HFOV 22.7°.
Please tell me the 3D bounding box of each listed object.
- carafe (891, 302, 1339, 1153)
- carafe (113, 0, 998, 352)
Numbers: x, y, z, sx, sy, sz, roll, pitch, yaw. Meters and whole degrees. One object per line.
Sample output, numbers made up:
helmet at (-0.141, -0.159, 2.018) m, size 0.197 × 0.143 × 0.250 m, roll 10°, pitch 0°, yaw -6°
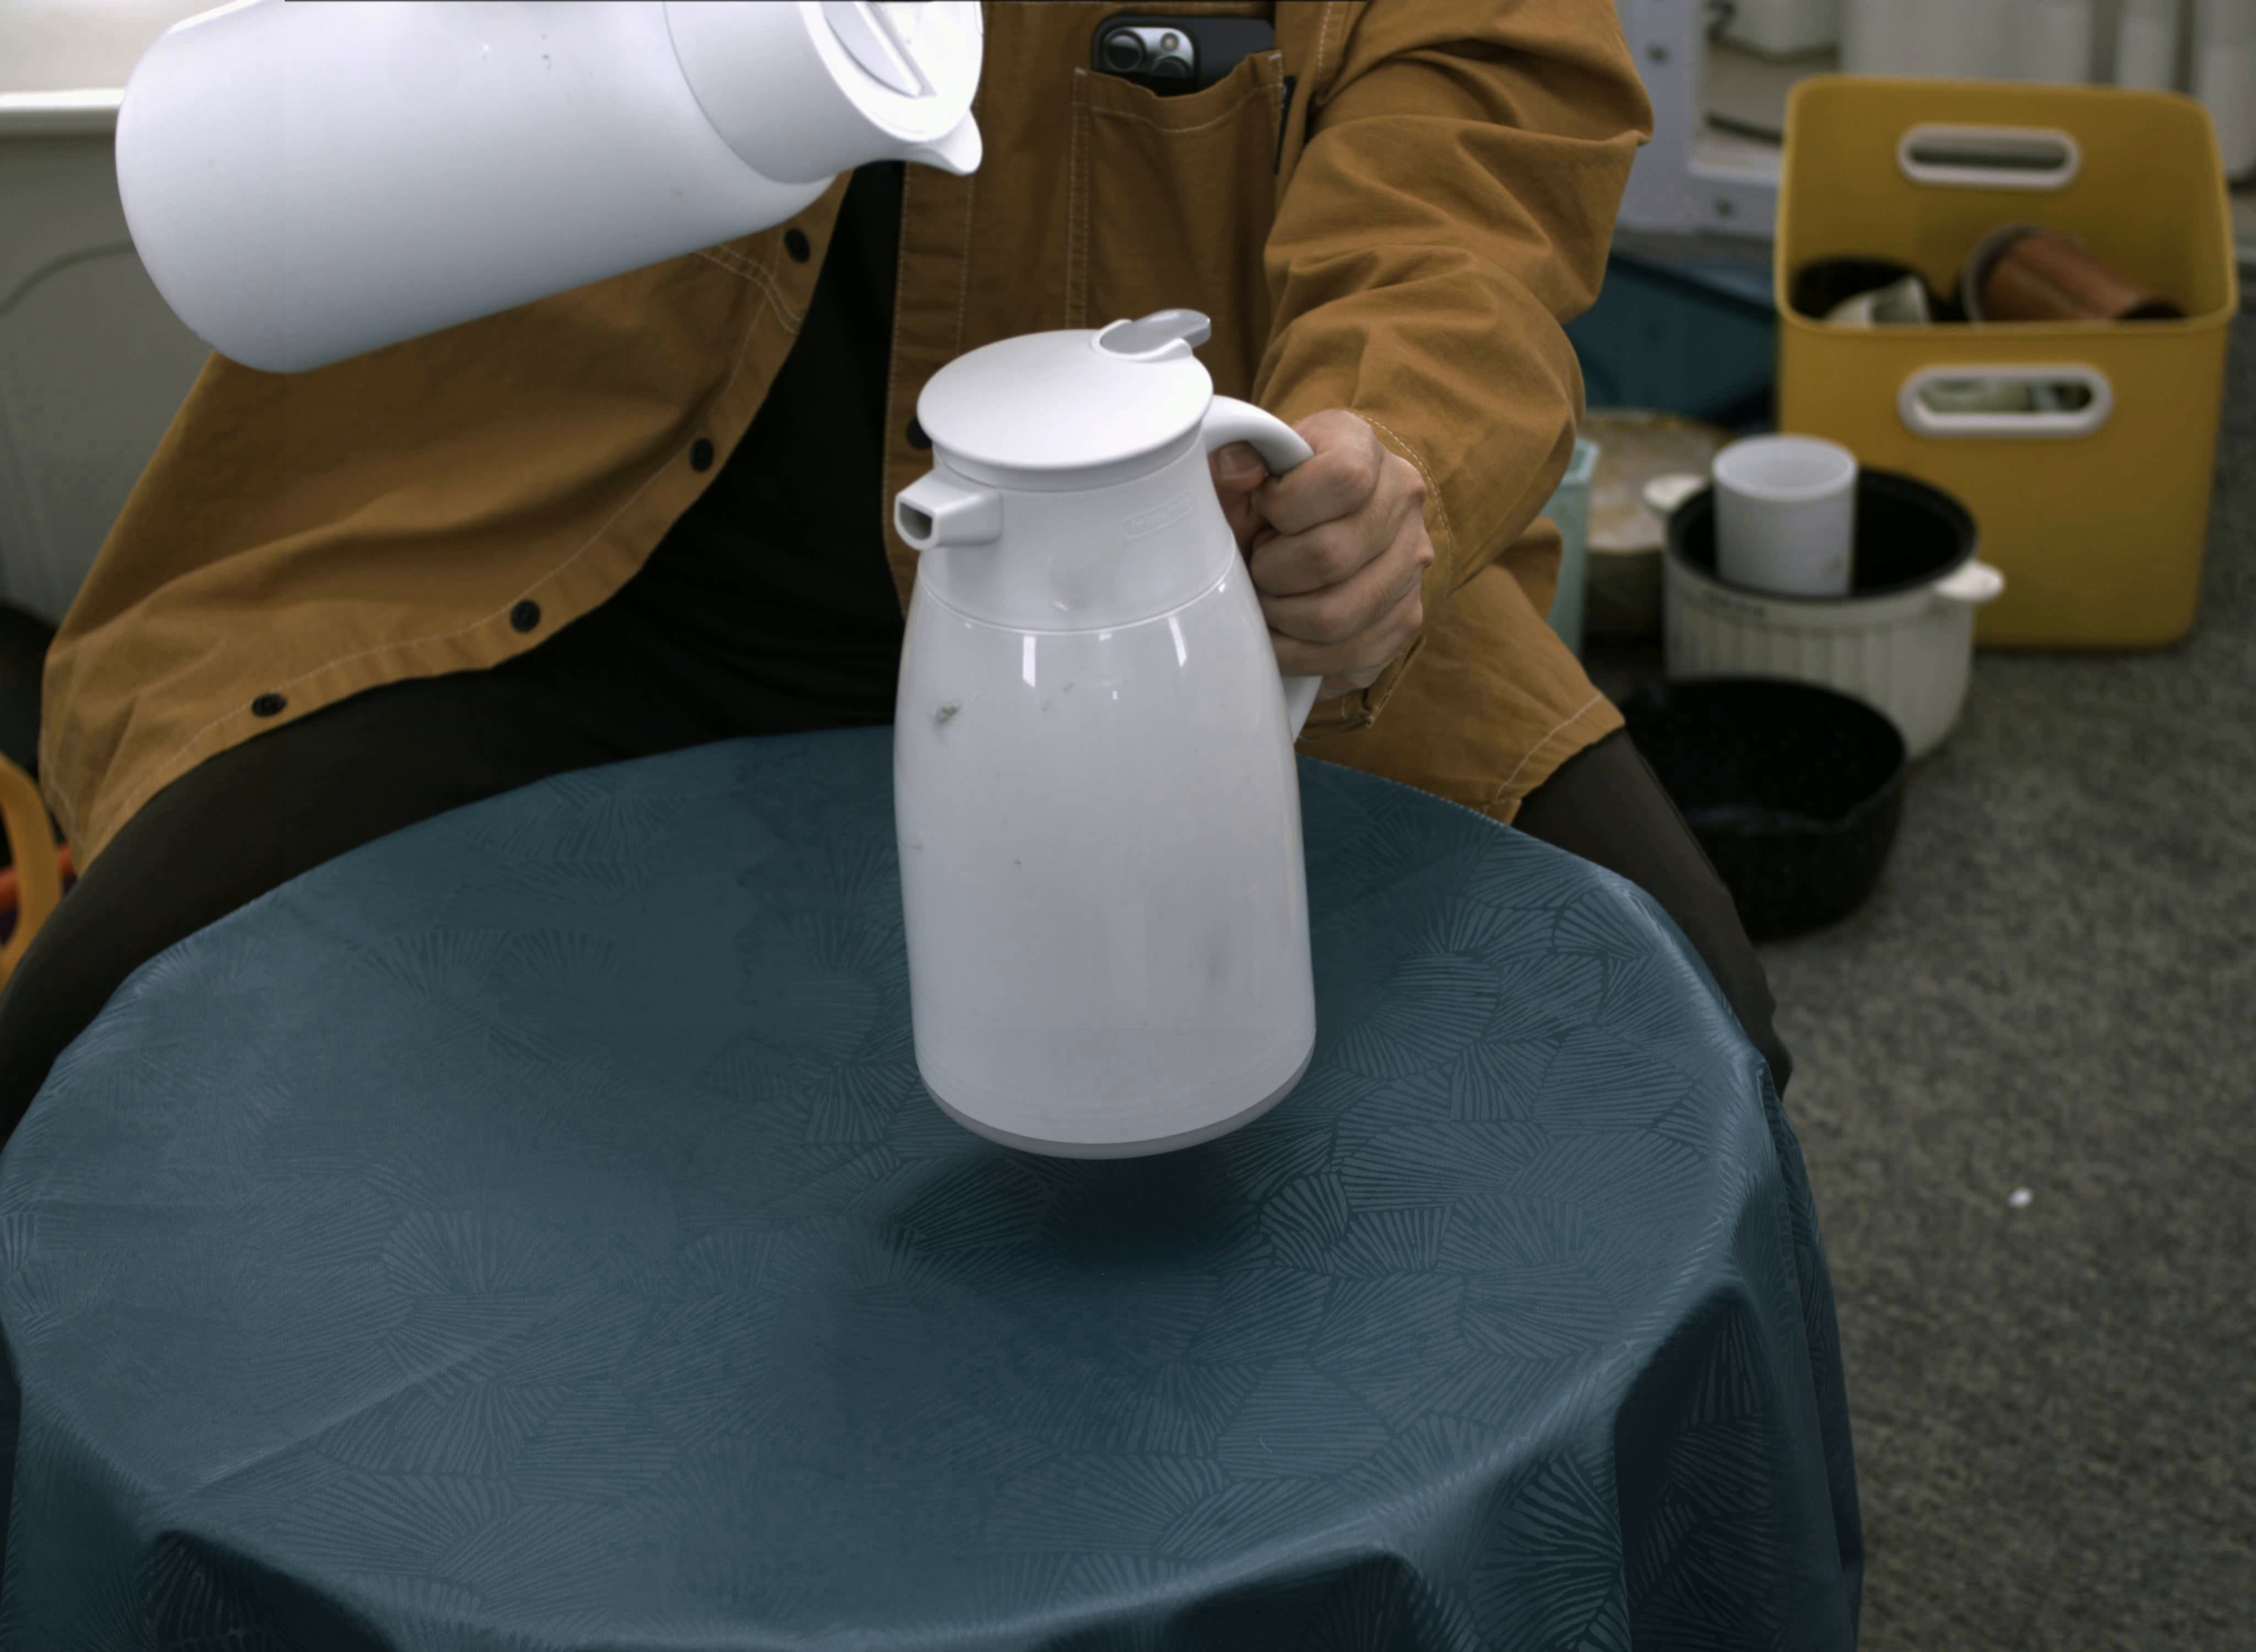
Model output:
carafe at (0.001, -0.043, 1.794) m, size 0.169 × 0.246 × 0.132 m, roll -26°, pitch 36°, yaw -36°
carafe at (-0.188, -0.241, 1.733) m, size 0.265 × 0.171 × 0.126 m, roll -11°, pitch 37°, yaw 33°
